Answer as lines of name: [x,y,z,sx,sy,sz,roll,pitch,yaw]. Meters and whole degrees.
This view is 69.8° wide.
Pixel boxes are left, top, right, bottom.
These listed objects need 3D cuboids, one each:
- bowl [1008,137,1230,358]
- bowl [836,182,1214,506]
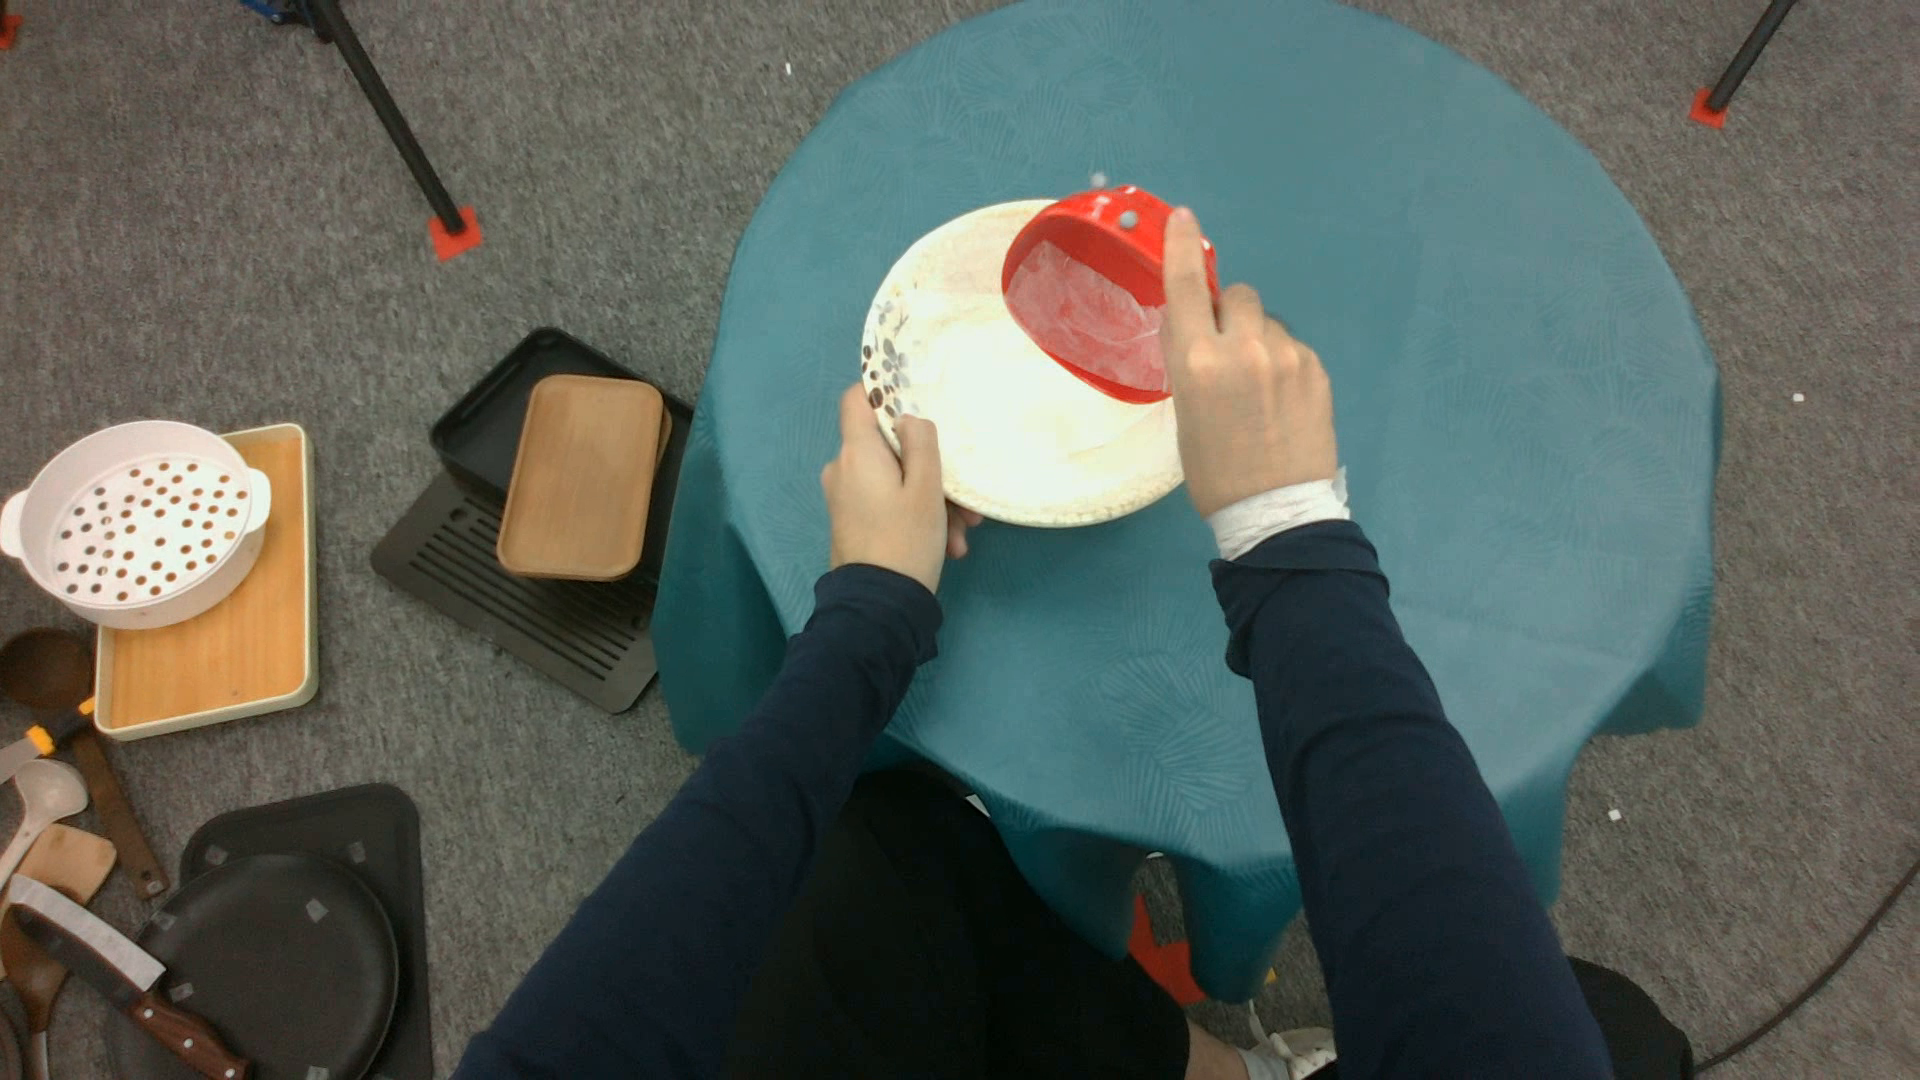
bowl: [0.085,-0.149,0.673,0.119,0.118,0.051,33,64,12]
bowl: [0.034,-0.097,0.776,0.204,0.077,0.204,1,67,-1]
